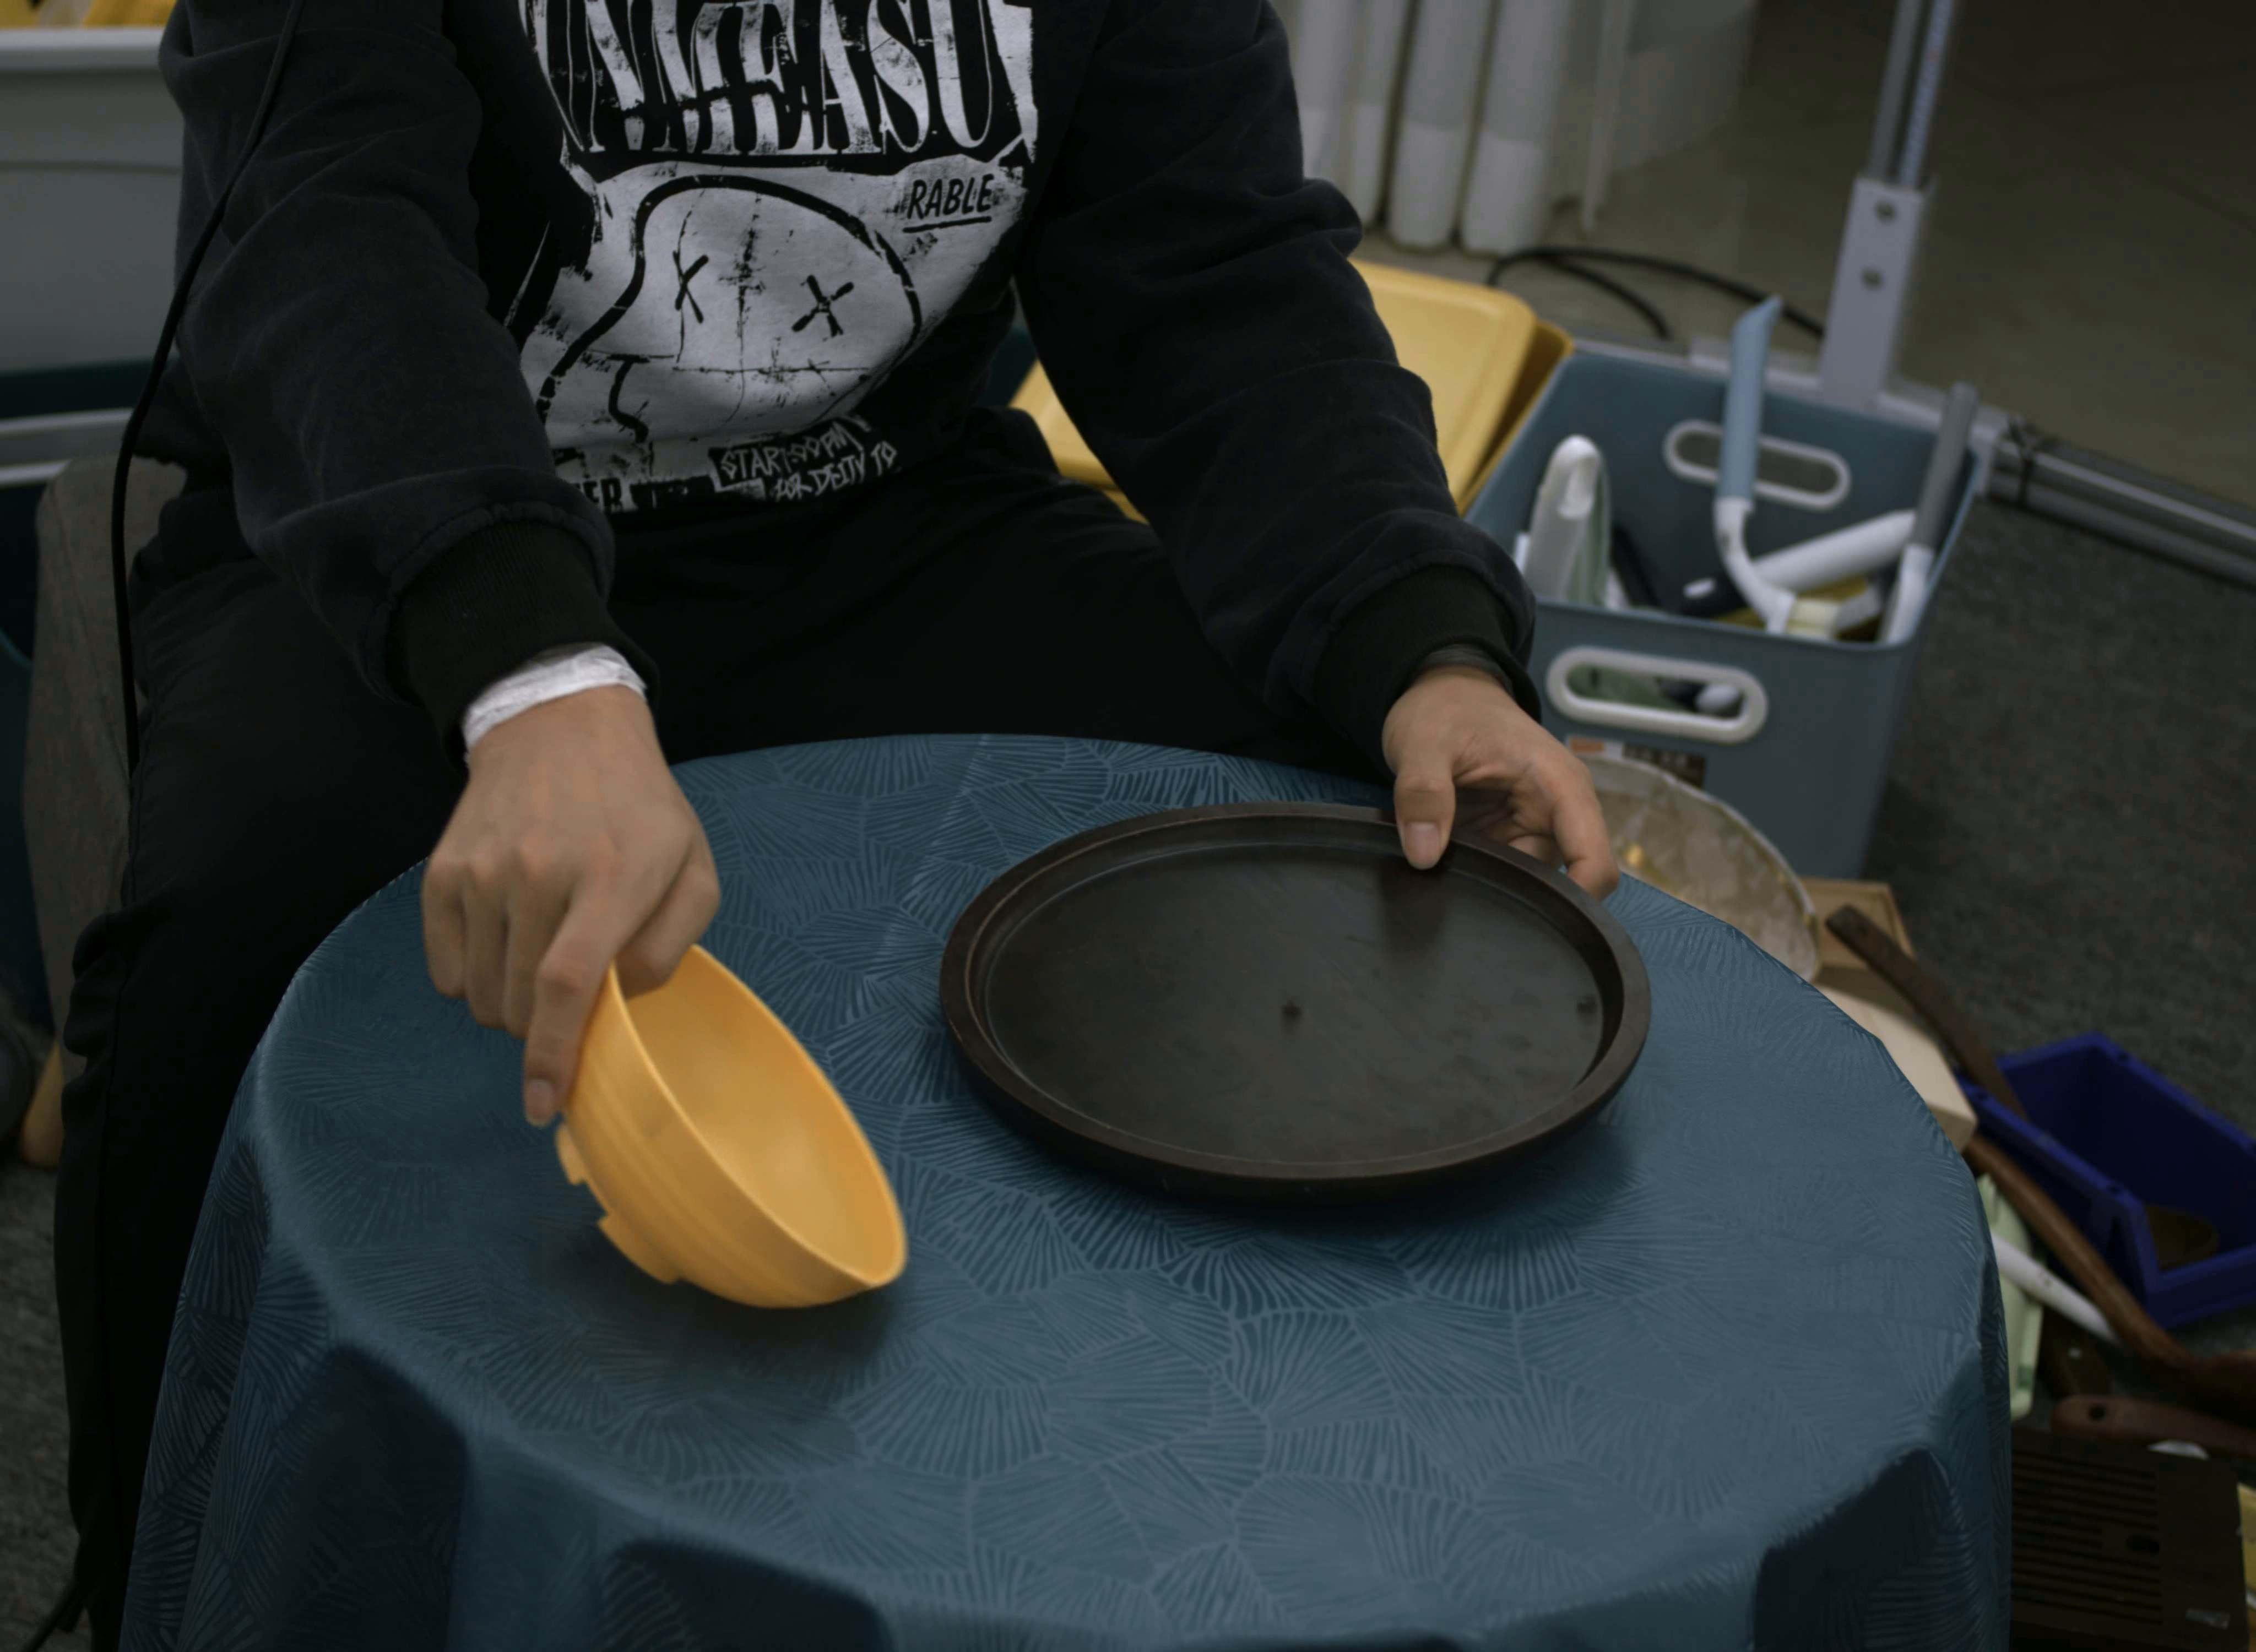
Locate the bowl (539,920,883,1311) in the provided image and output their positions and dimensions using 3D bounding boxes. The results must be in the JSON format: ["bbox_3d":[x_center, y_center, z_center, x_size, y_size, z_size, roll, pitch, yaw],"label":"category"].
[{"bbox_3d":[-0.145,0.105,1.704,0.145,0.060,0.146,50,9,-12],"label":"bowl"}]

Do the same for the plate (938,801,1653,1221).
[{"bbox_3d":[0.059,0.063,1.884,0.254,0.029,0.256,-1,30,0],"label":"plate"}]
